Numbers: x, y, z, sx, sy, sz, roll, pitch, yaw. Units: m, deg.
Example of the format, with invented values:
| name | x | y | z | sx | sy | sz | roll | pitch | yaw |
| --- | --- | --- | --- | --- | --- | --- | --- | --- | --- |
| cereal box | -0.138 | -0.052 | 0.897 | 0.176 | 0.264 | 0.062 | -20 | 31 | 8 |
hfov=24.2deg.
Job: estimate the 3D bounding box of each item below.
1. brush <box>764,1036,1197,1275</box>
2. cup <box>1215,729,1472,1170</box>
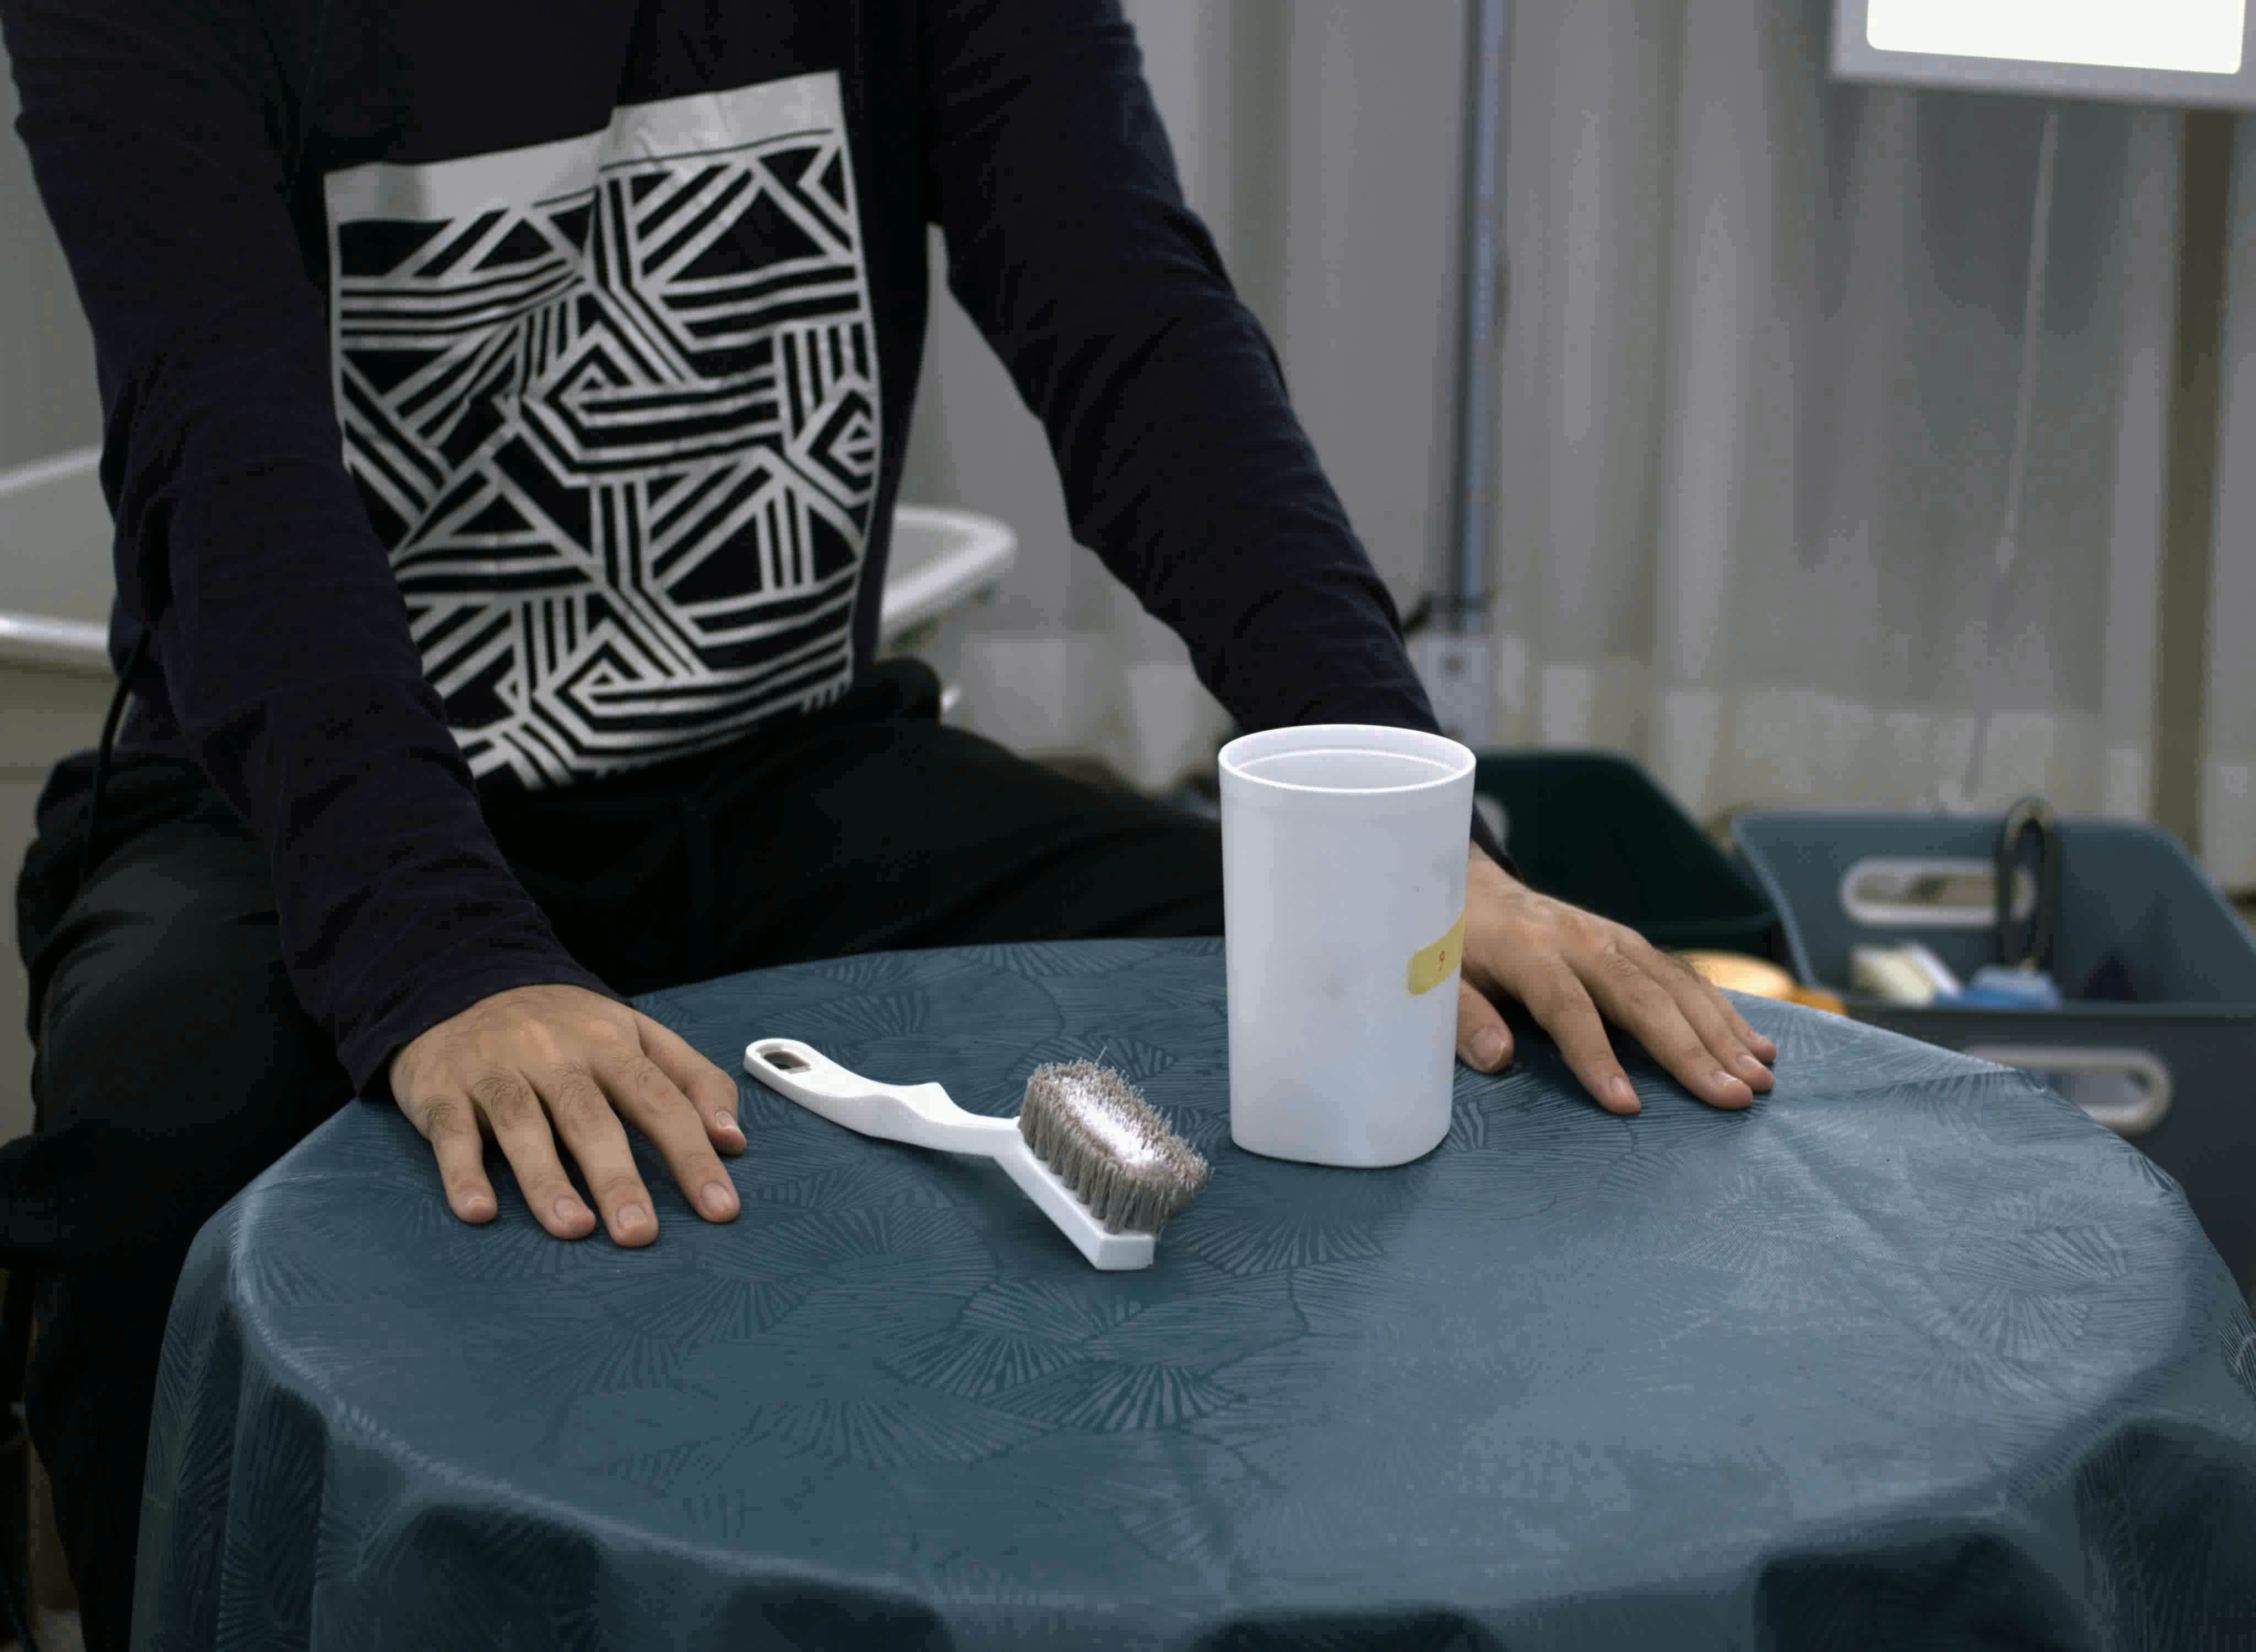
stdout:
| name | x | y | z | sx | sy | sz | roll | pitch | yaw |
| --- | --- | --- | --- | --- | --- | --- | --- | --- | --- |
| brush | -0.052 | 0.083 | 1.640 | 0.034 | 0.050 | 0.240 | -12 | 20 | -29 |
| cup | 0.067 | 0.039 | 1.663 | 0.081 | 0.126 | 0.081 | 0 | 15 | 0 |
